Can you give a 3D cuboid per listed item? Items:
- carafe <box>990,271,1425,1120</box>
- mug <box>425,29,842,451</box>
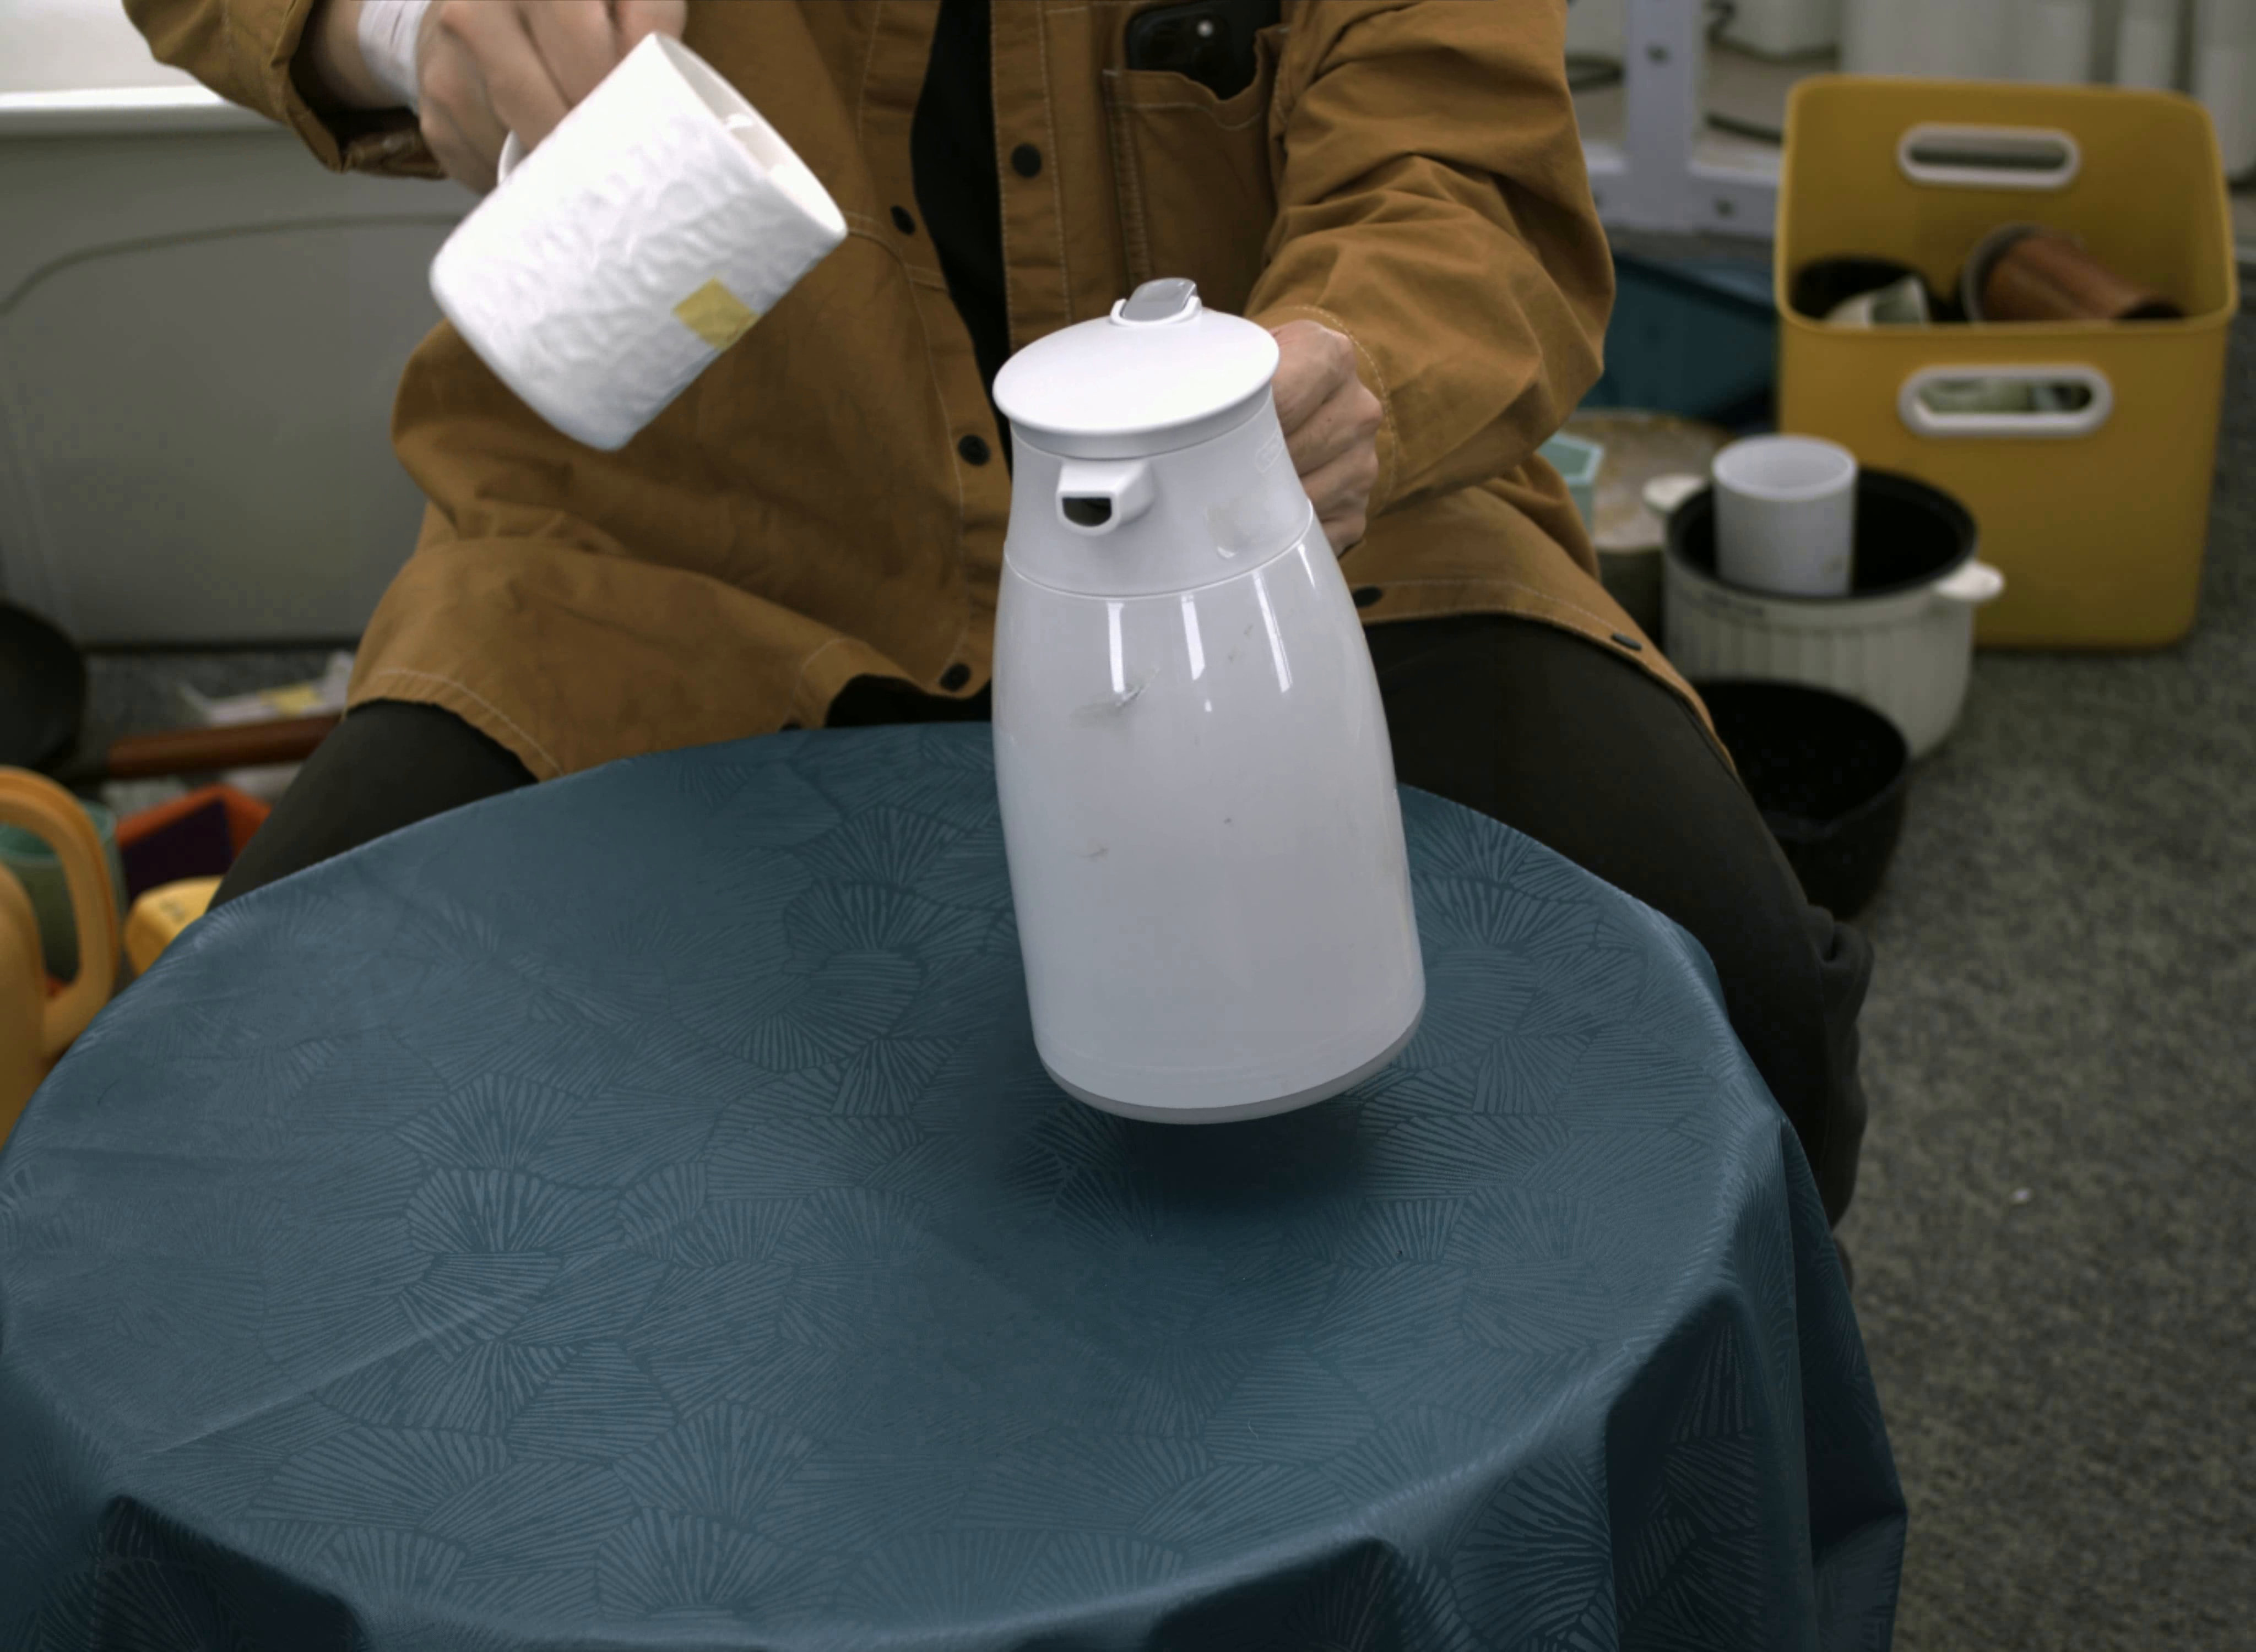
[{"bbox_3d":[0.021,-0.053,1.838,0.131,0.246,0.170,-1,27,17],"label":"carafe"},{"bbox_3d":[-0.160,-0.187,1.734,0.101,0.084,0.119,-44,50,8],"label":"mug"}]
